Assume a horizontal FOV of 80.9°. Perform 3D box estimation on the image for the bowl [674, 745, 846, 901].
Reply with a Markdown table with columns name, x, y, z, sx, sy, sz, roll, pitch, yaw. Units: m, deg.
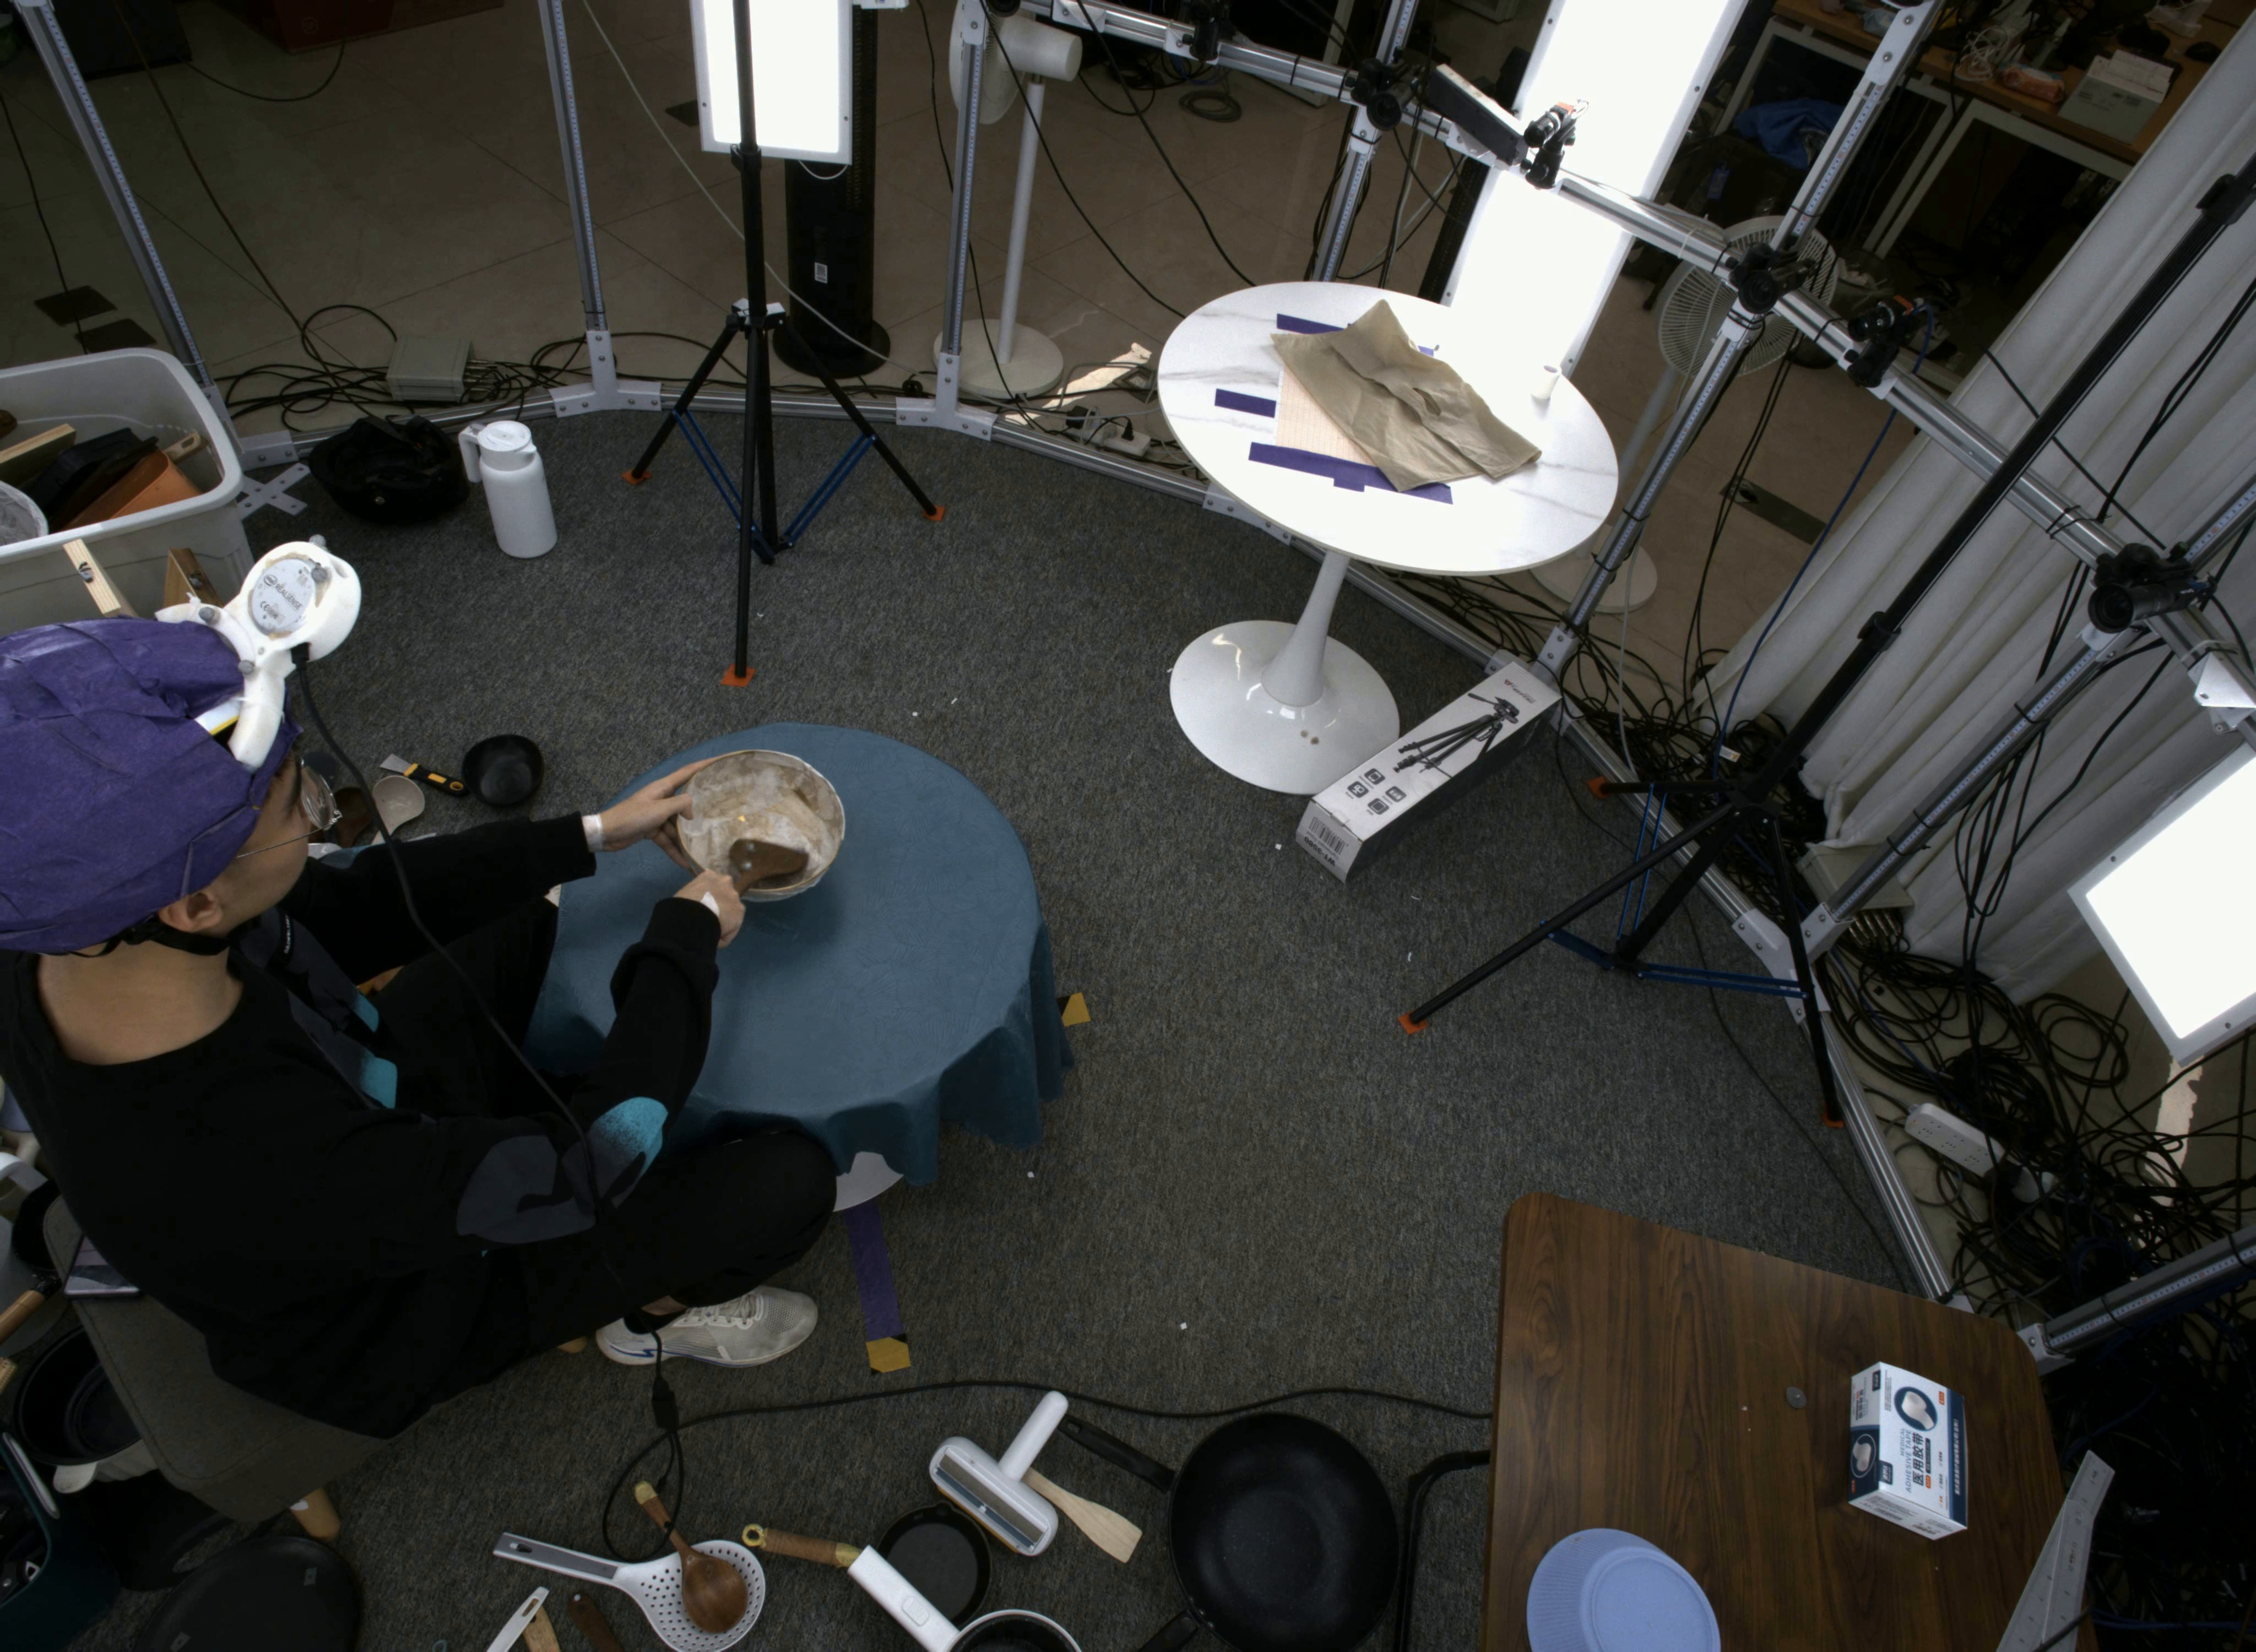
| name | x | y | z | sx | sy | sz | roll | pitch | yaw |
| --- | --- | --- | --- | --- | --- | --- | --- | --- | --- |
| bowl | -0.461 | 0.010 | 1.603 | 0.216 | 0.095 | 0.212 | 12 | 59 | -18 |

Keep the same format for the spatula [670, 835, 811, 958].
| name | x | y | z | sx | sy | sz | roll | pitch | yaw |
| --- | --- | --- | --- | --- | --- | --- | --- | --- | --- |
| spatula | -0.450 | 0.073 | 1.476 | 0.095 | 0.016 | 0.380 | 14 | 15 | -4 |
